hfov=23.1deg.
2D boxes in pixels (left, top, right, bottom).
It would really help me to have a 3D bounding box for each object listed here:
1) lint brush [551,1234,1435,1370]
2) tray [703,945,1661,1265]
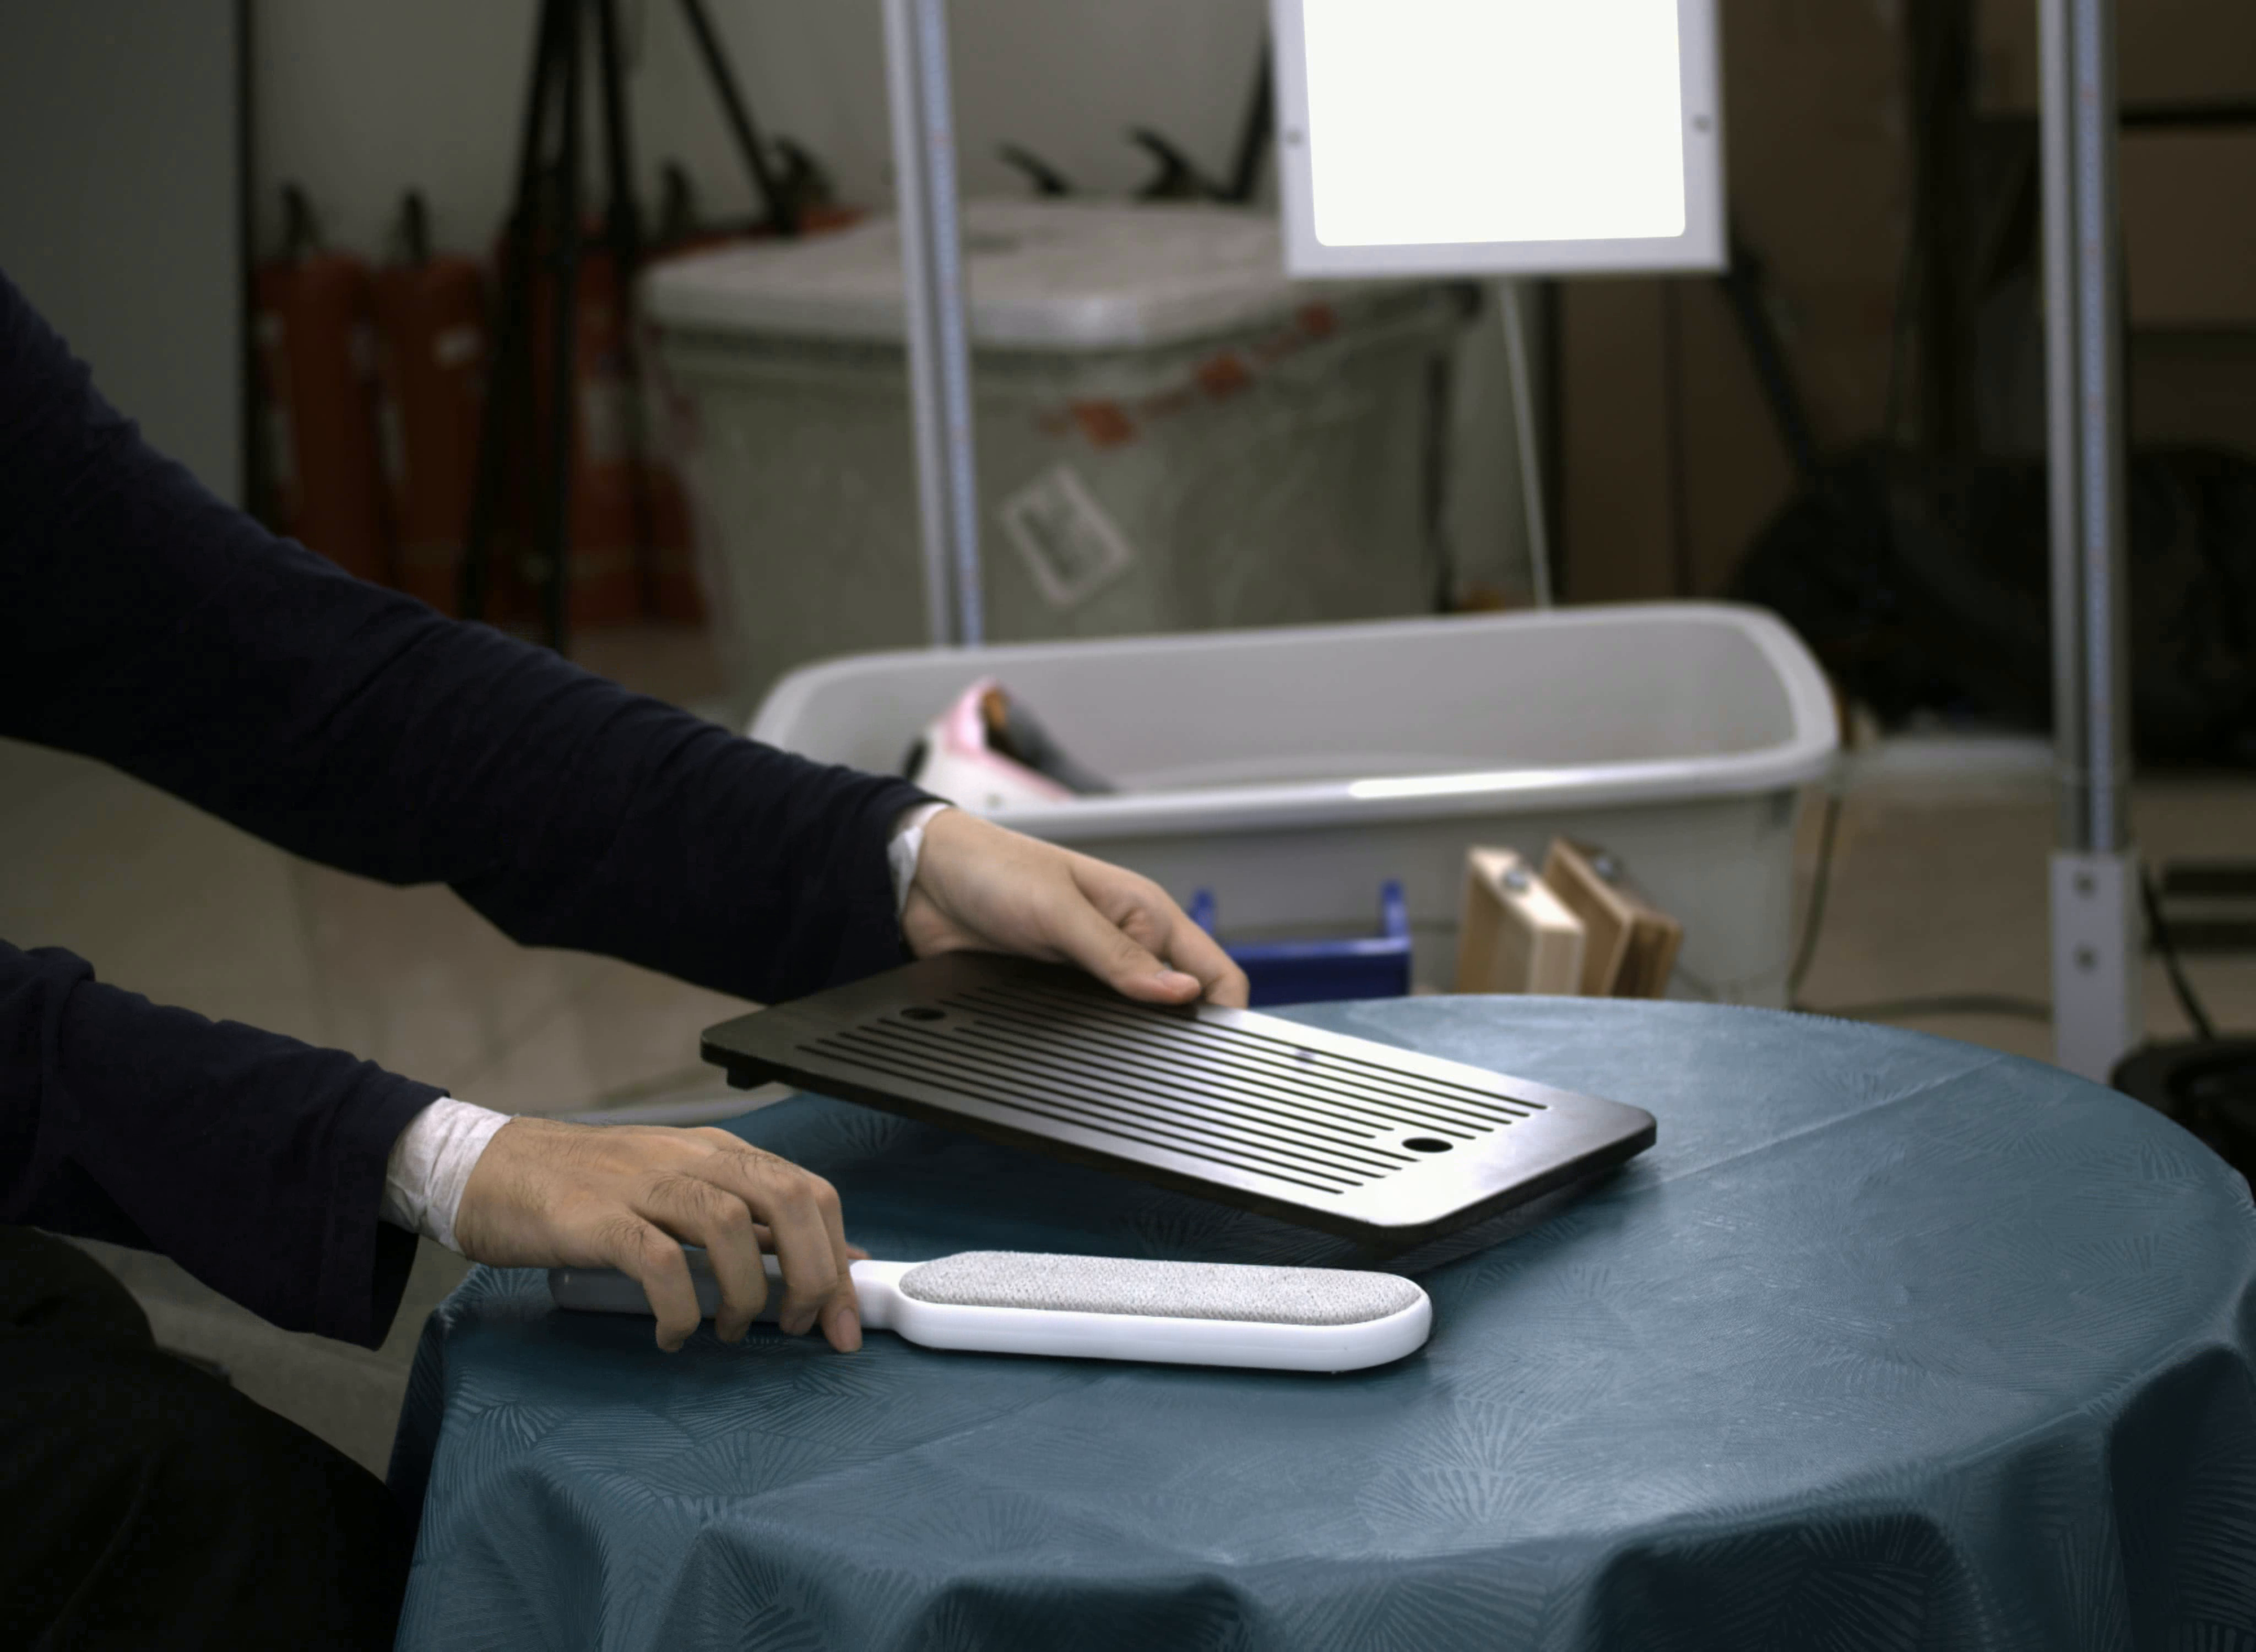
[{"bbox_3d":[-0.049,0.149,1.772,0.314,0.021,0.059,1,20,25],"label":"lint brush"},{"bbox_3d":[0.017,0.094,1.916,0.312,0.019,0.166,12,19,35],"label":"tray"}]
